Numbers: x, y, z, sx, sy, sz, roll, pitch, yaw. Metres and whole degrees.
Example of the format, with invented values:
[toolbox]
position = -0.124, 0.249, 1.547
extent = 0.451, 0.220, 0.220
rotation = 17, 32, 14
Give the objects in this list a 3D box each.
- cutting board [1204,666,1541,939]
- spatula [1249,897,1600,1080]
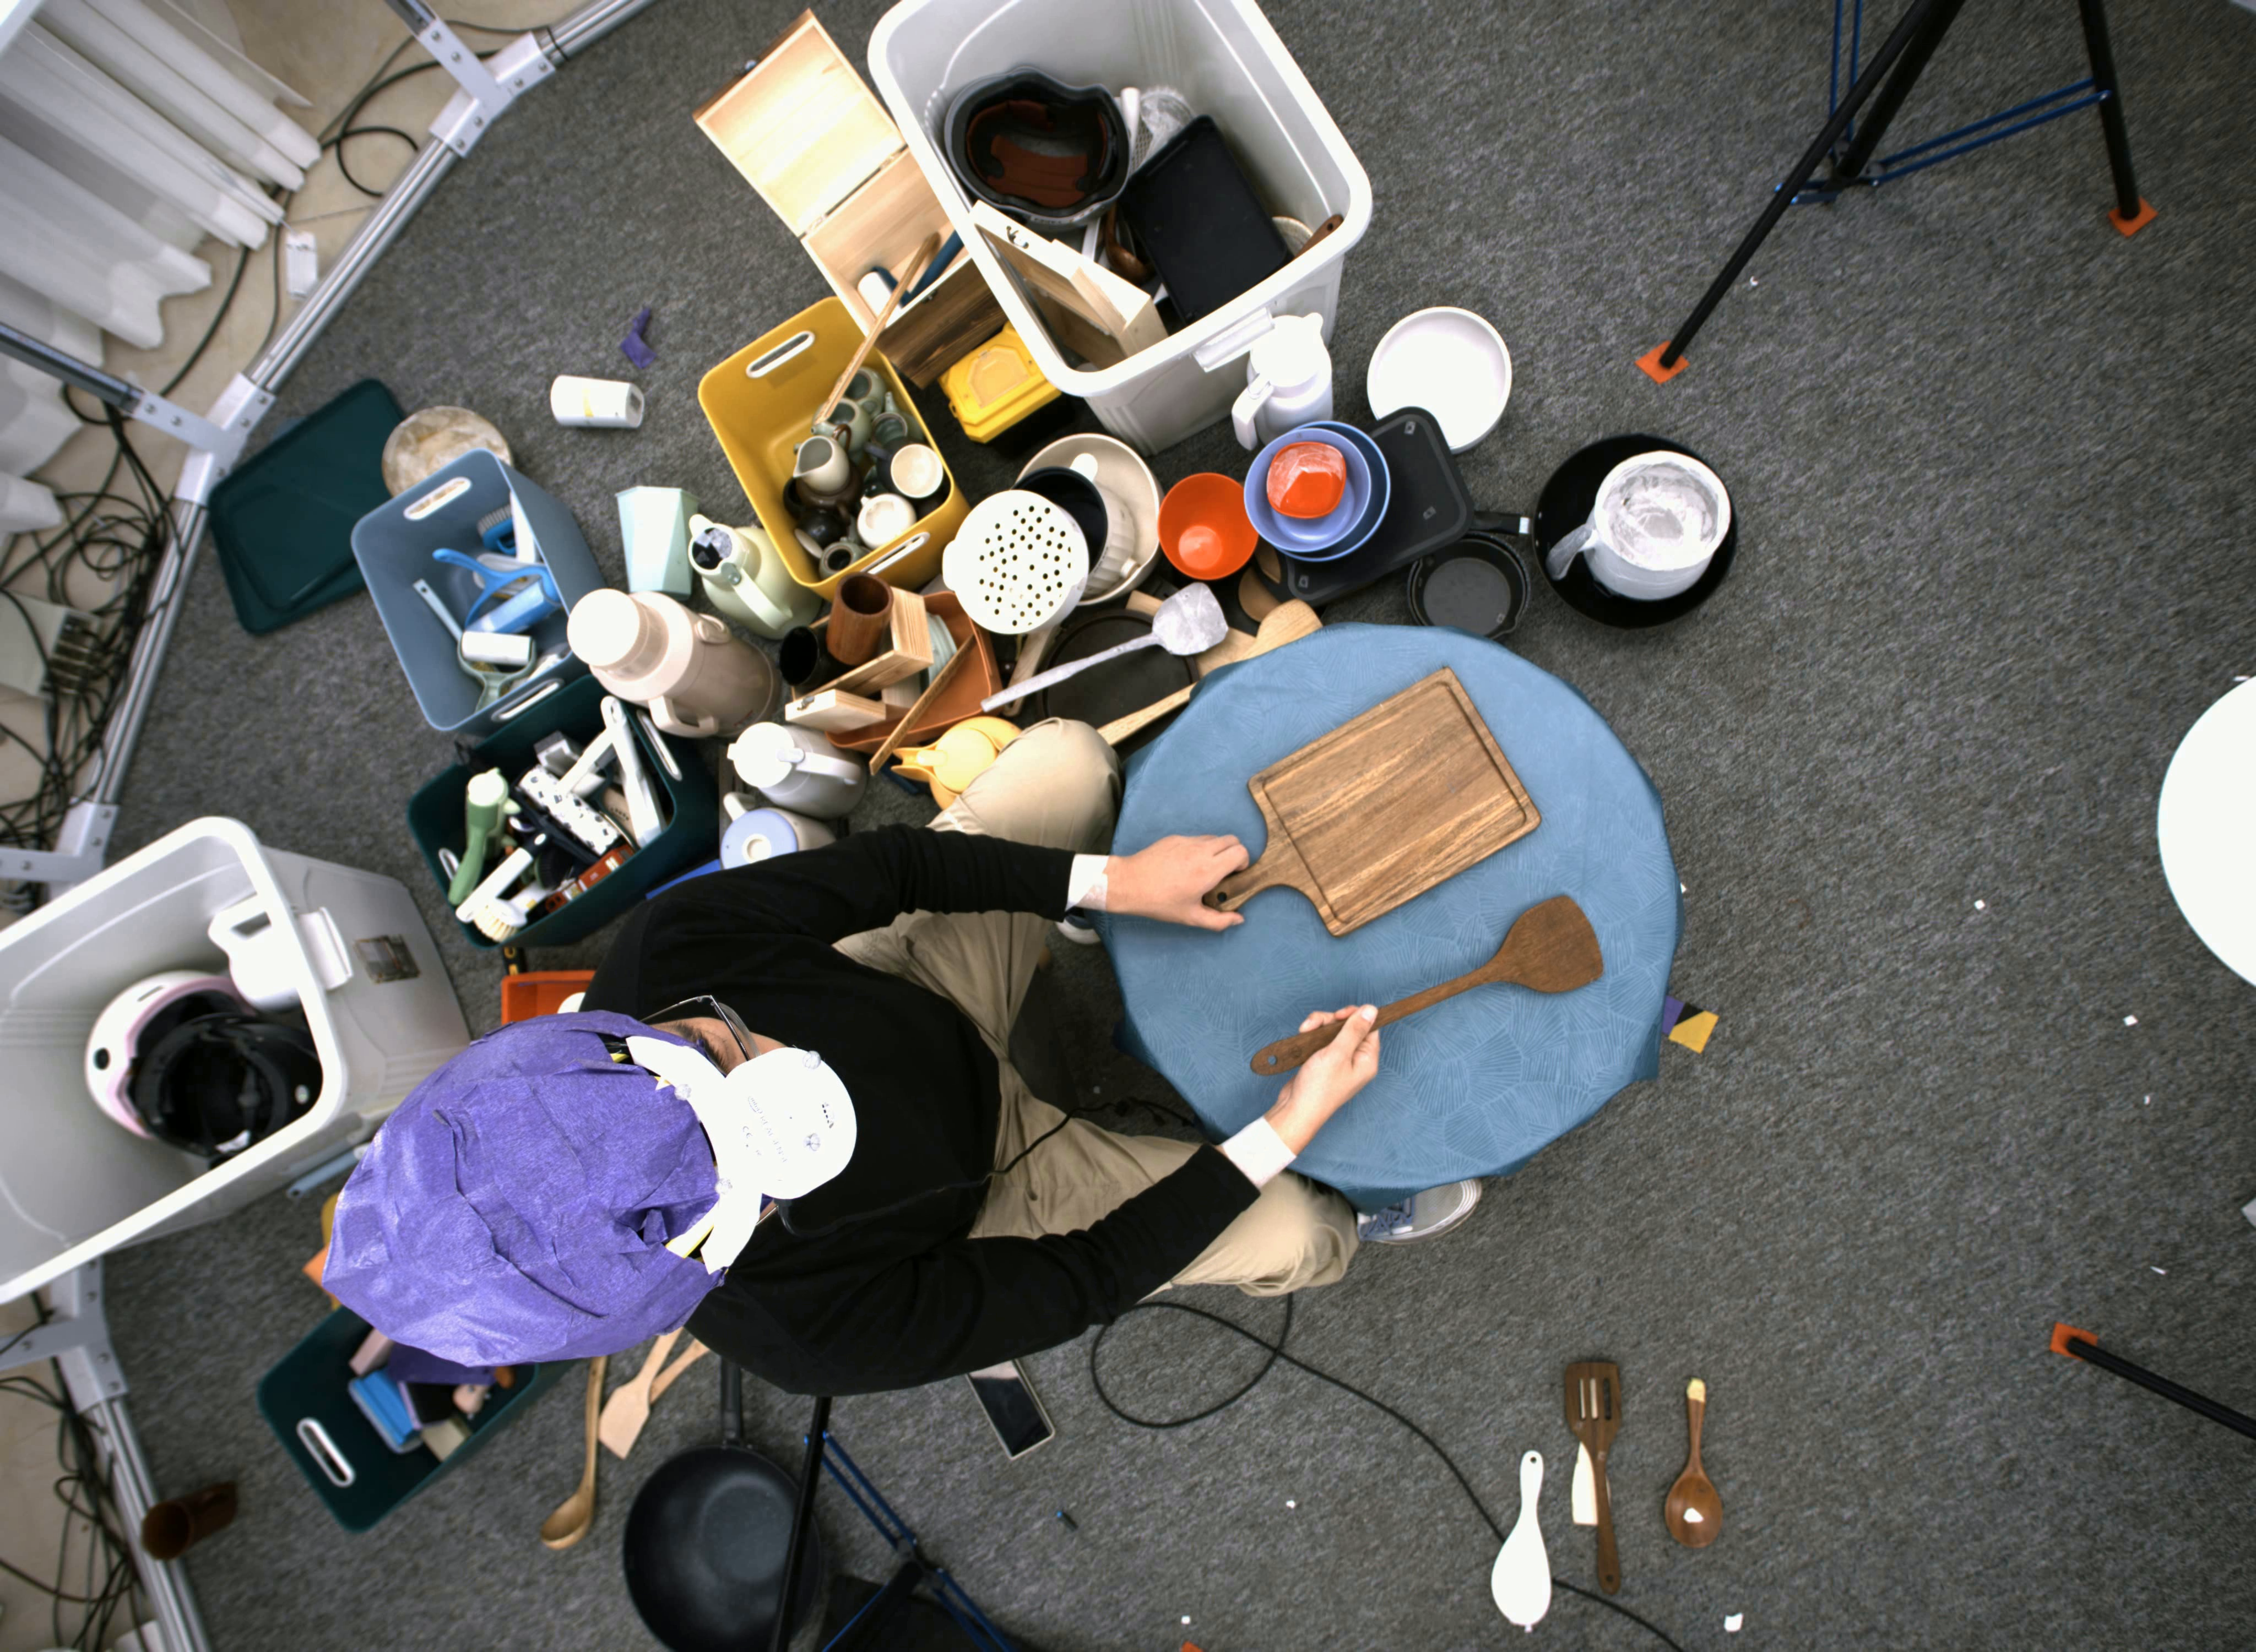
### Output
[cutting board]
position = 0.235, -0.002, 1.460
extent = 0.354, 0.023, 0.200
rotation = -31, 82, 8
[spatula]
position = 0.300, 0.175, 1.396
extent = 0.384, 0.016, 0.095
rotation = -21, 84, -8
